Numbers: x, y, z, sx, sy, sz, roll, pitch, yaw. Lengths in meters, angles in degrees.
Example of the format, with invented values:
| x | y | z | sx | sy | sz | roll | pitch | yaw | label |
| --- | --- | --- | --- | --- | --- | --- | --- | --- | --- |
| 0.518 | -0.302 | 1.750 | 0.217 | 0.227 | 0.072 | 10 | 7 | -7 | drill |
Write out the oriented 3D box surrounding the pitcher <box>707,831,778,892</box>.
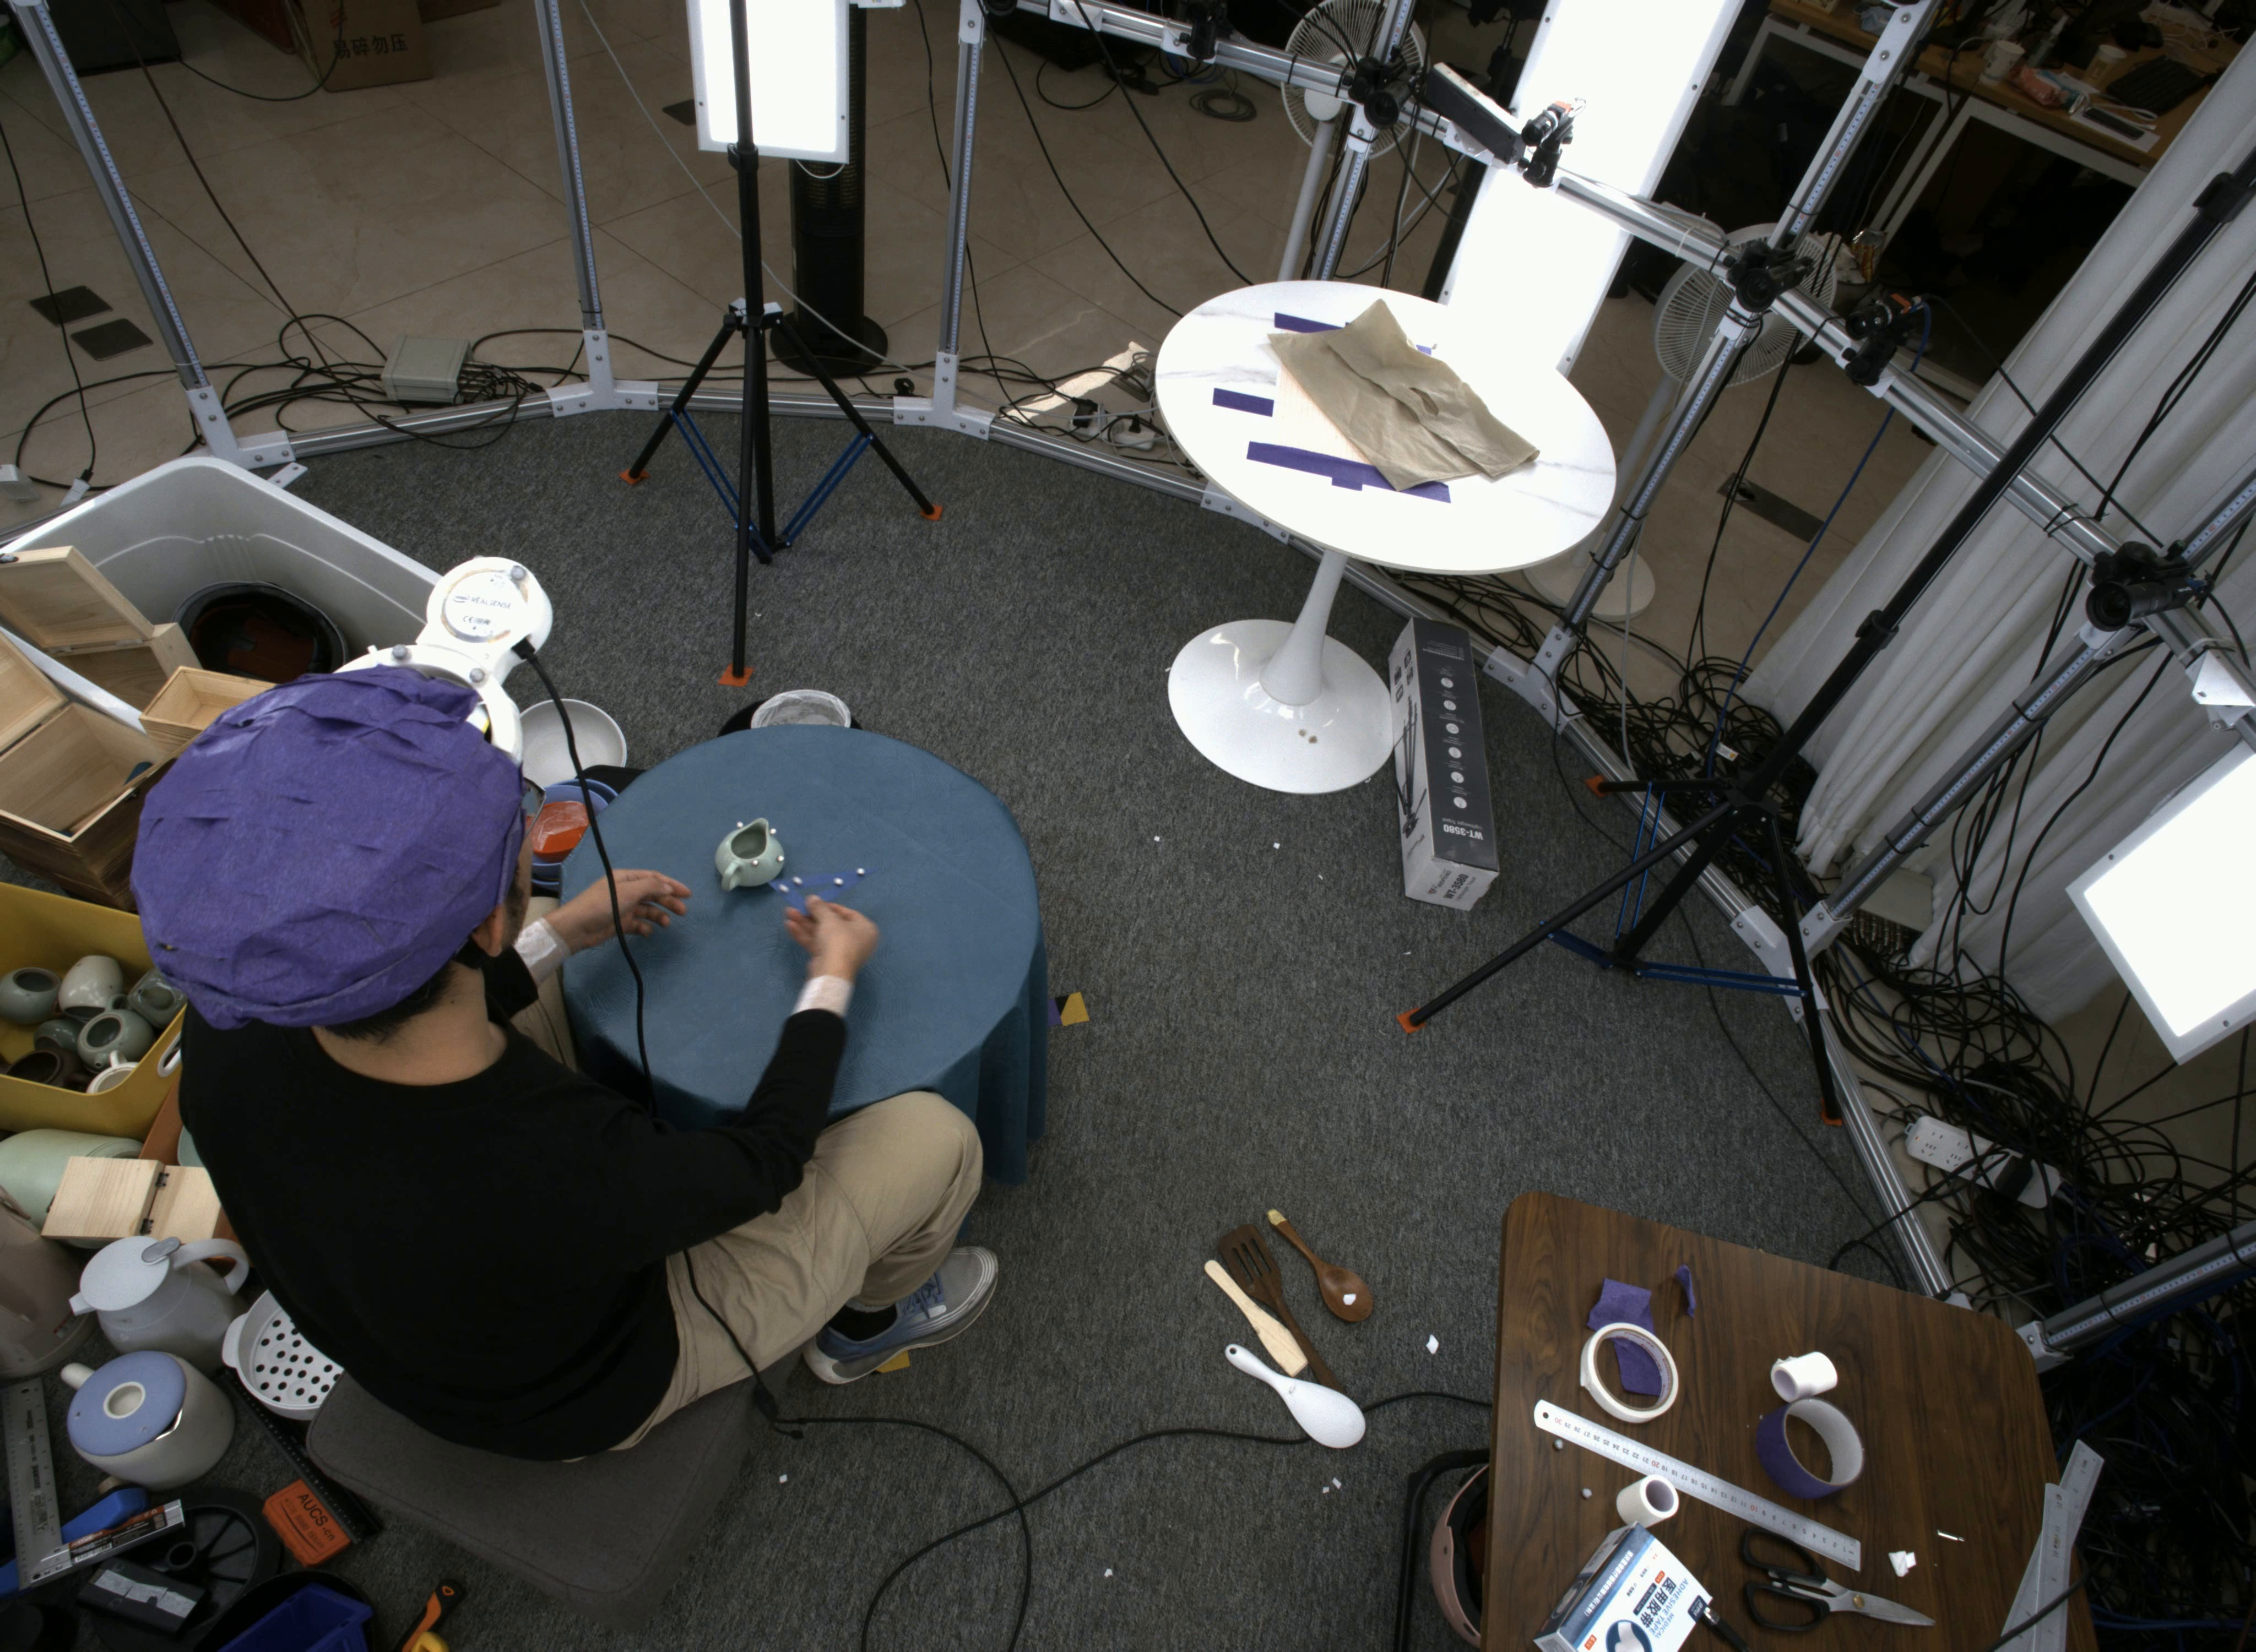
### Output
| x | y | z | sx | sy | sz | roll | pitch | yaw | label |
| --- | --- | --- | --- | --- | --- | --- | --- | --- | --- |
| -0.488 | 0.046 | 1.623 | 0.085 | 0.061 | 0.108 | 39 | 36 | 5 | pitcher |

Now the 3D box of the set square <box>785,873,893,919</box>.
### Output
| x | y | z | sx | sy | sz | roll | pitch | yaw | label |
| --- | --- | --- | --- | --- | --- | --- | --- | --- | --- |
| -0.348 | 0.083 | 1.586 | 0.133 | 0.007 | 0.059 | -7 | 48 | -24 | set square |
